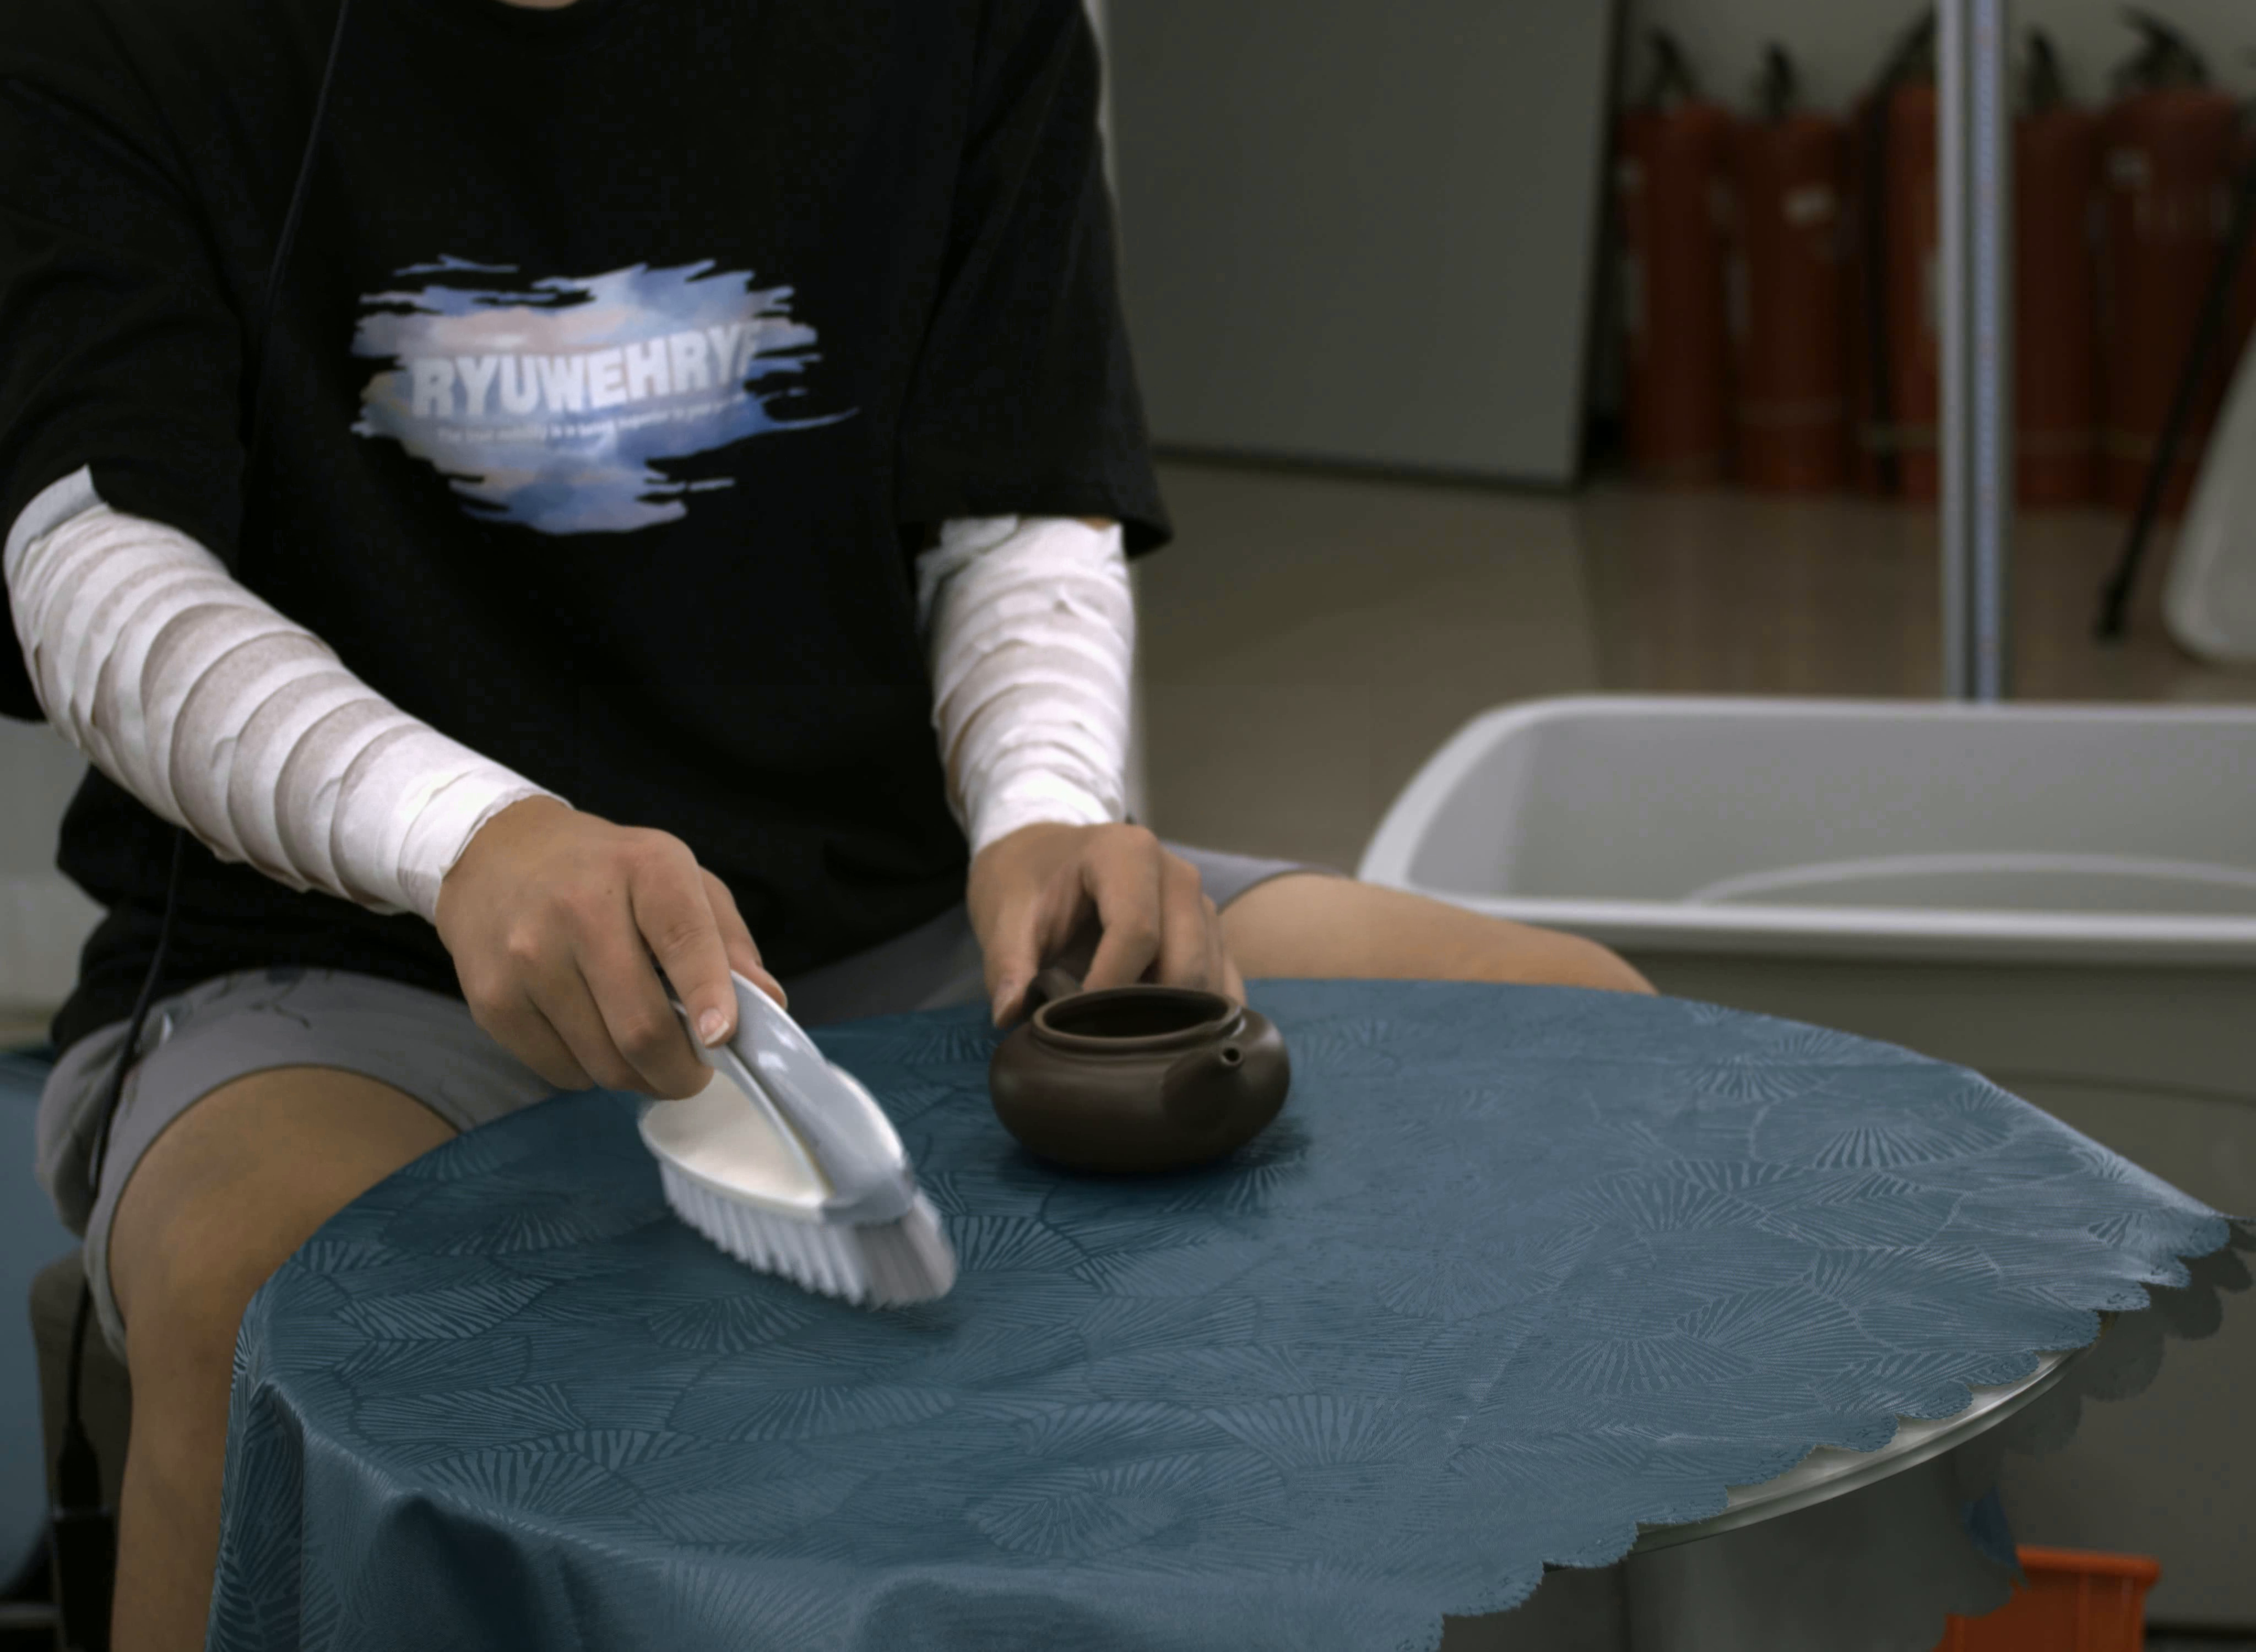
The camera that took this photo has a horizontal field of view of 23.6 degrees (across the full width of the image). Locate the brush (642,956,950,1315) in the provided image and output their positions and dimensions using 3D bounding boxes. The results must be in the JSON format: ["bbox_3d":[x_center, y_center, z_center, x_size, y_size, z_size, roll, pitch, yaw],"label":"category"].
[{"bbox_3d":[-0.107,0.092,1.700,0.061,0.094,0.177,-30,24,-15],"label":"brush"}]

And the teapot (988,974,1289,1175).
[{"bbox_3d":[0.001,0.083,1.815,0.100,0.054,0.155,-10,14,-30],"label":"teapot"}]
